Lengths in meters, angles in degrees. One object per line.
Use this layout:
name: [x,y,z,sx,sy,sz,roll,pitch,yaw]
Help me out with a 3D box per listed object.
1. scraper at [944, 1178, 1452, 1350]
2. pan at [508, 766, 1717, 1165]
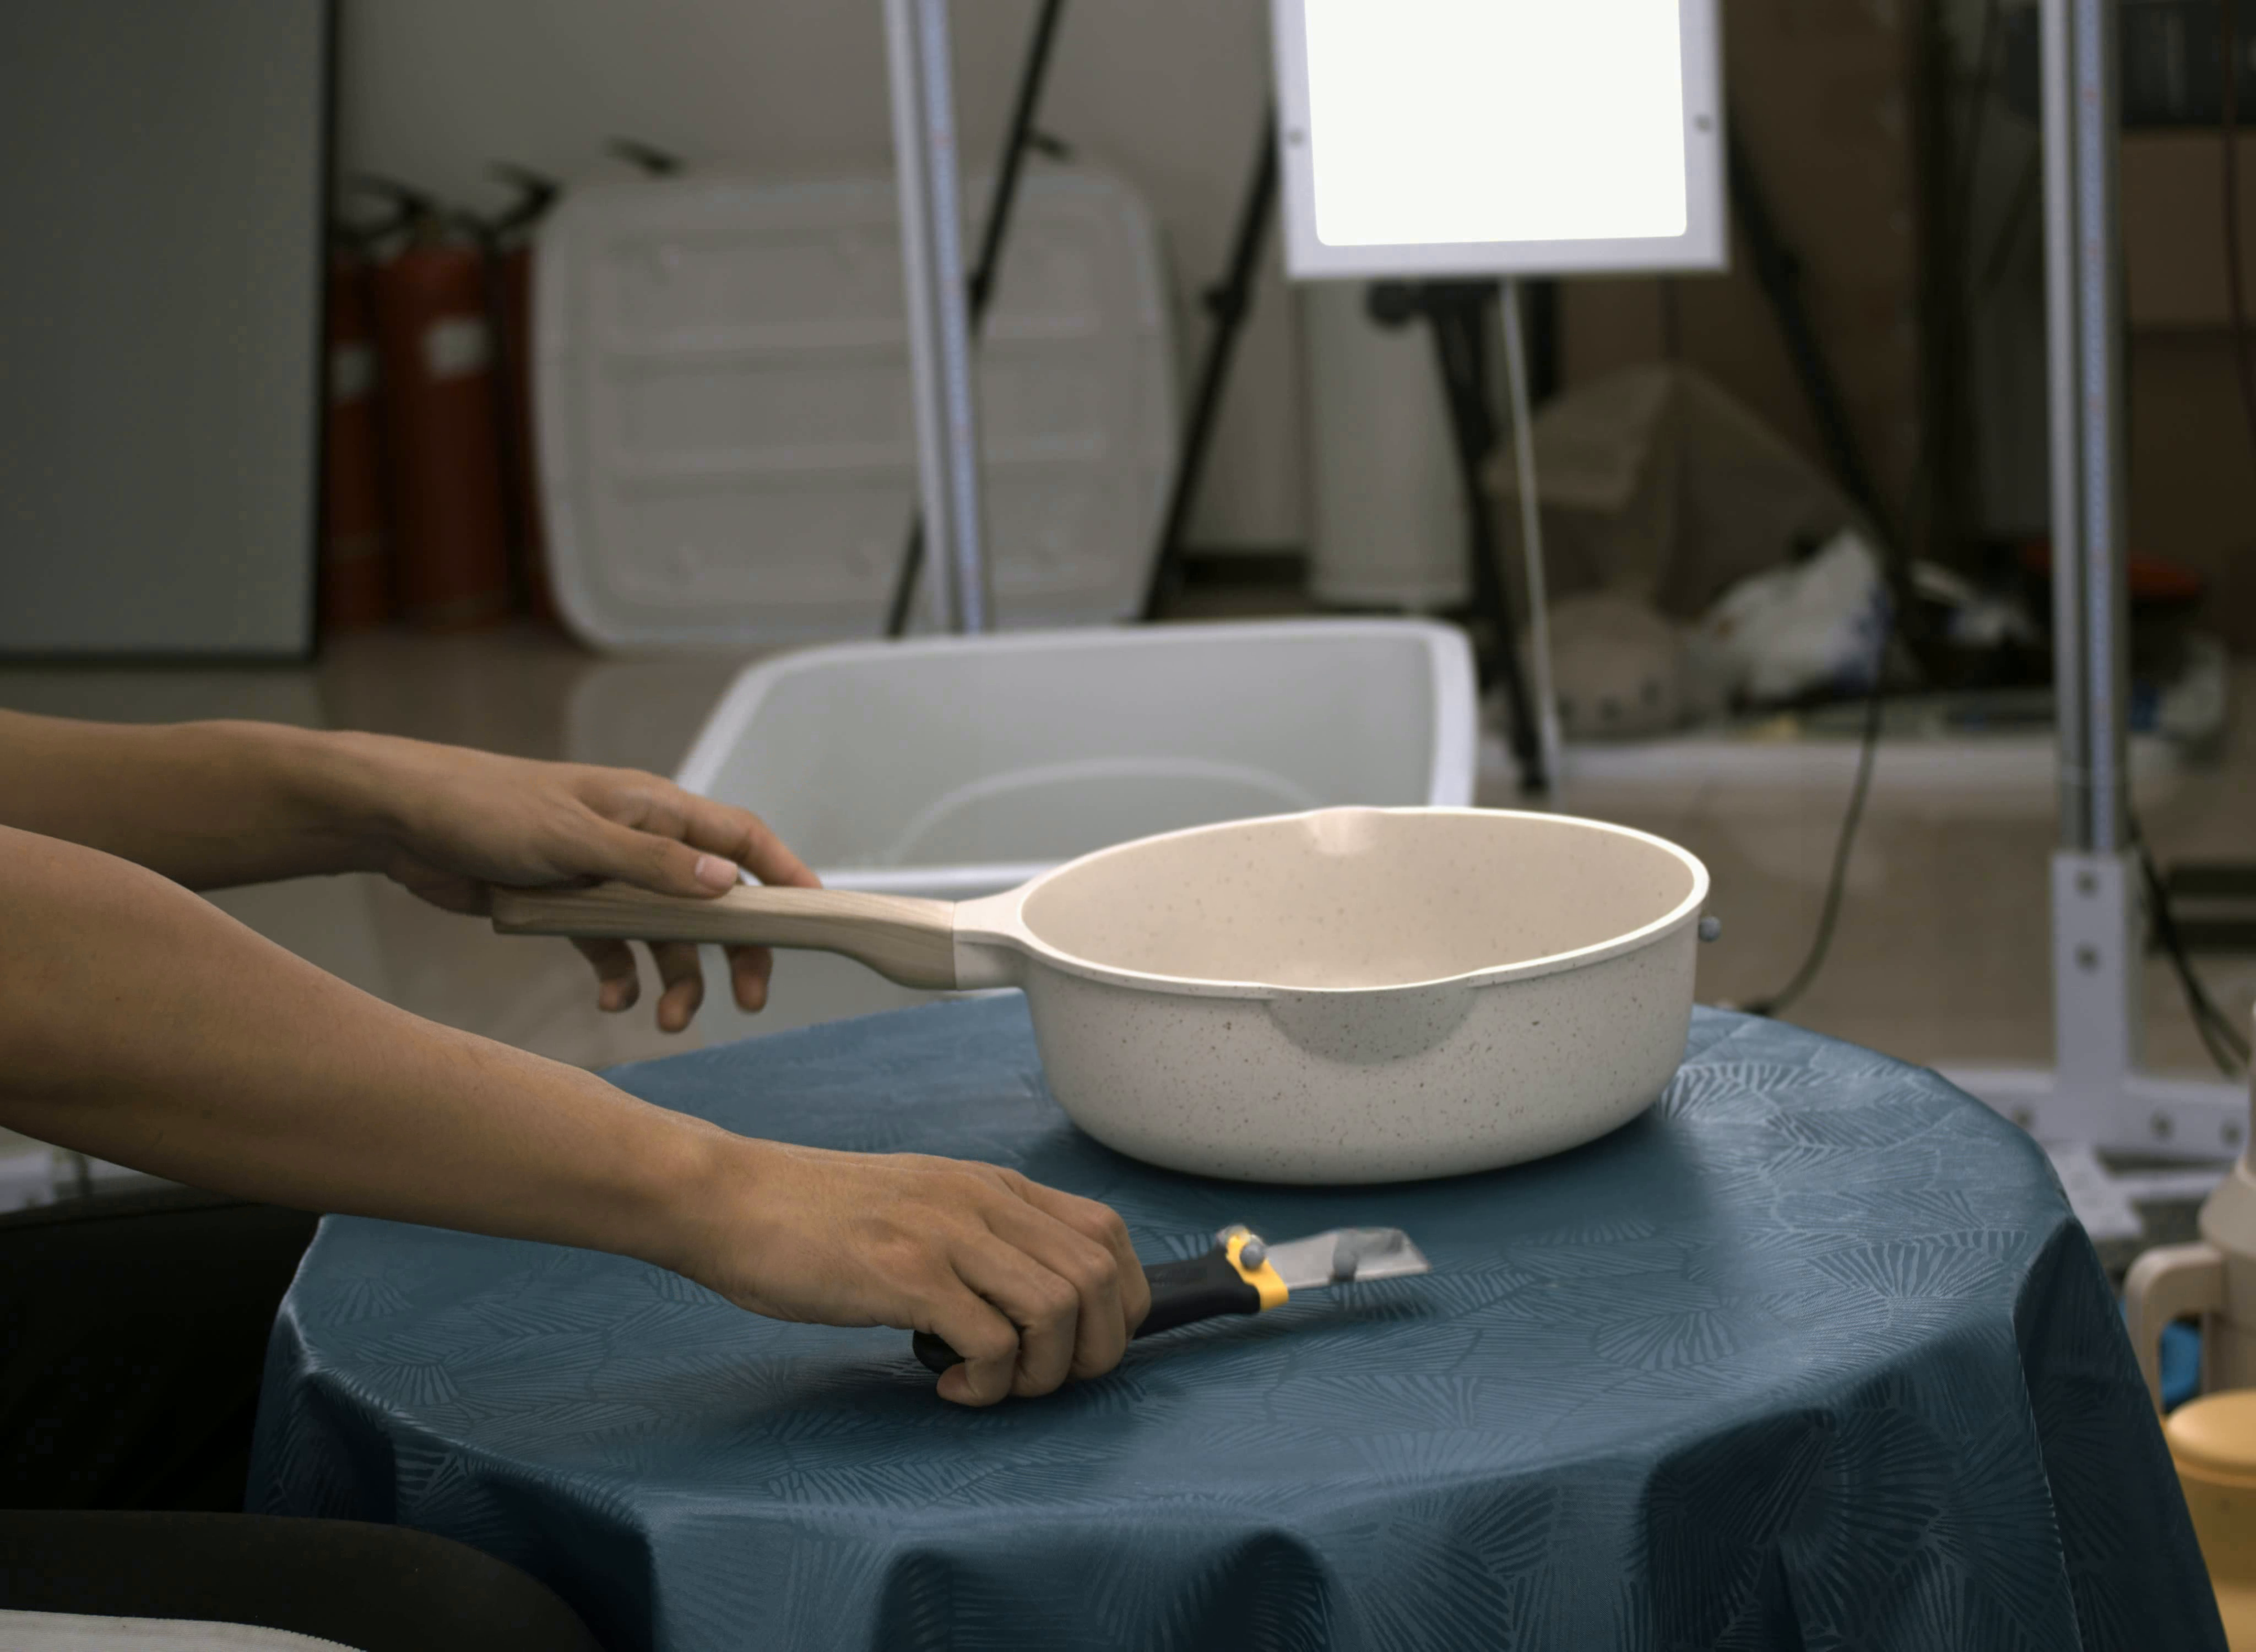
scraper: [0.022,0.139,1.746,0.168,0.015,0.039,-10,35,-20]
pan: [-0.003,0.052,1.987,0.435,0.102,0.262,-5,16,3]
